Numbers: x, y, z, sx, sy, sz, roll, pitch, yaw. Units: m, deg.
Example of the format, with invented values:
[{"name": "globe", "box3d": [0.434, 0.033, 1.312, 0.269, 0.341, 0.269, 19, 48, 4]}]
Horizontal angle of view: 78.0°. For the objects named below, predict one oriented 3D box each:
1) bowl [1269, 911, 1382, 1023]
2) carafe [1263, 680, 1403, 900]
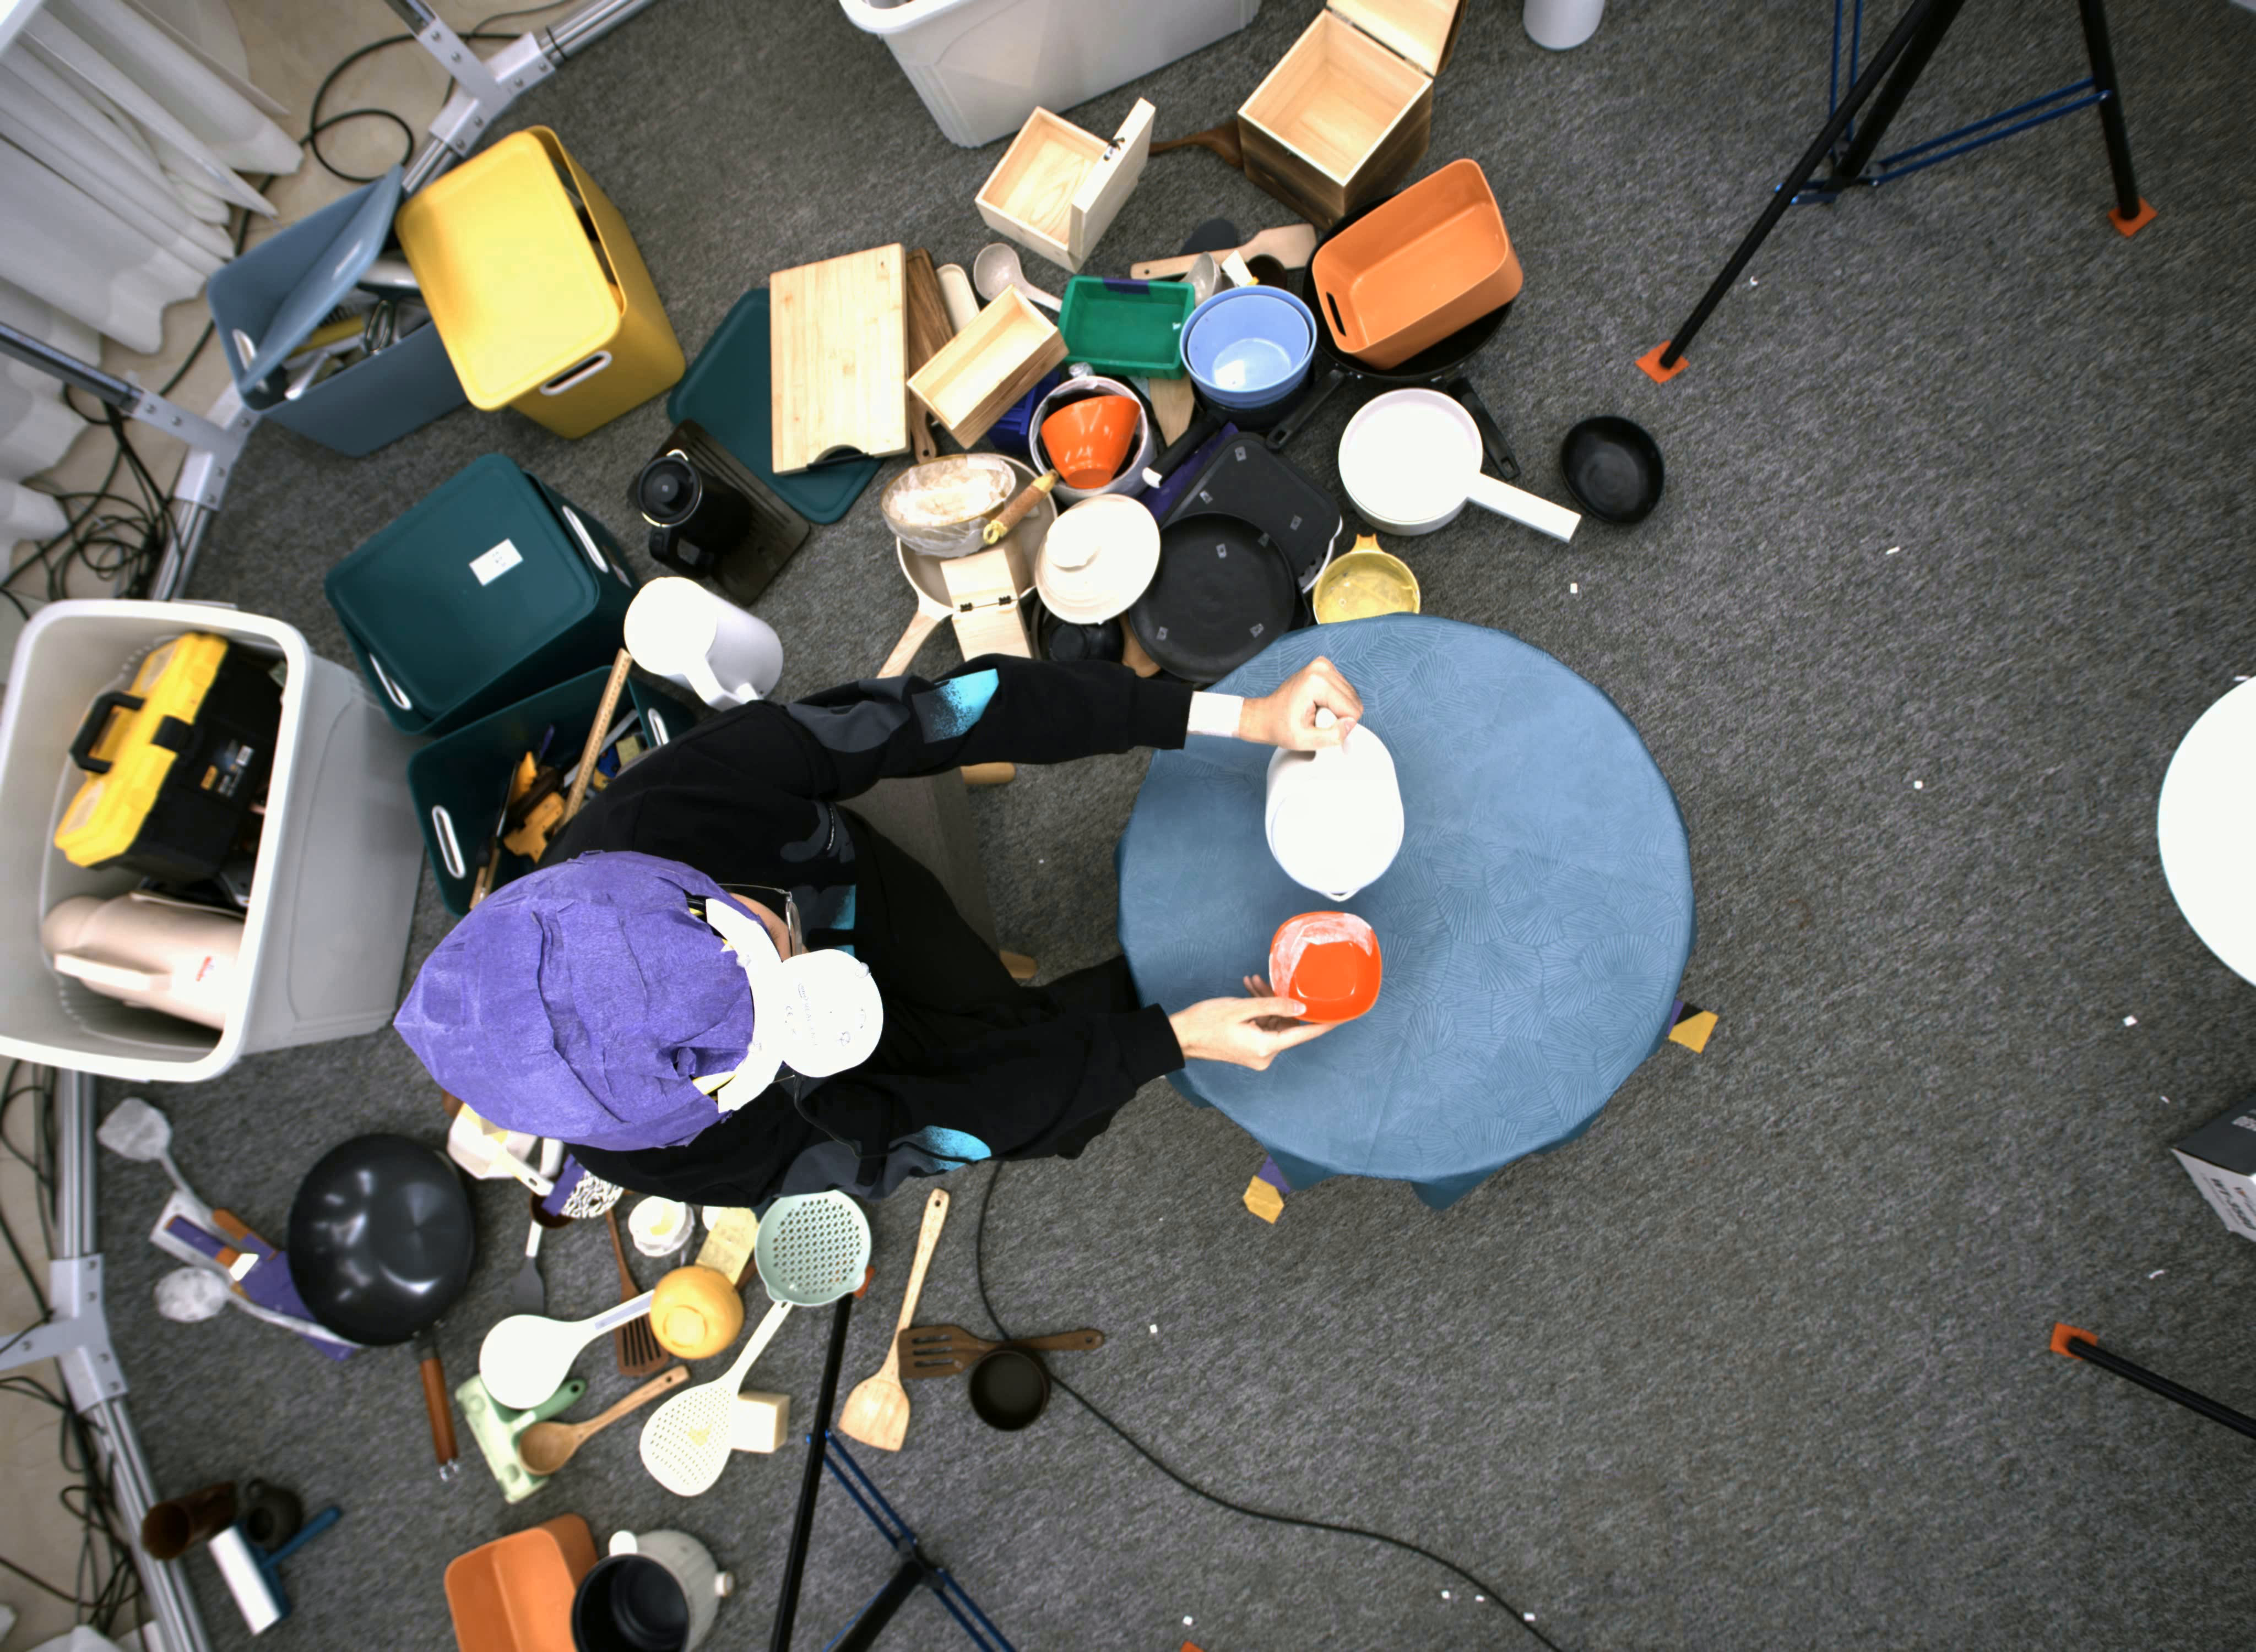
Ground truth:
[{"name": "bowl", "box3d": [0.195, 0.140, 1.376, 0.119, 0.051, 0.118, -1, 85, 6]}, {"name": "carafe", "box3d": [0.194, -0.045, 1.337, 0.133, 0.179, 0.194, -7, 108, 8]}]
